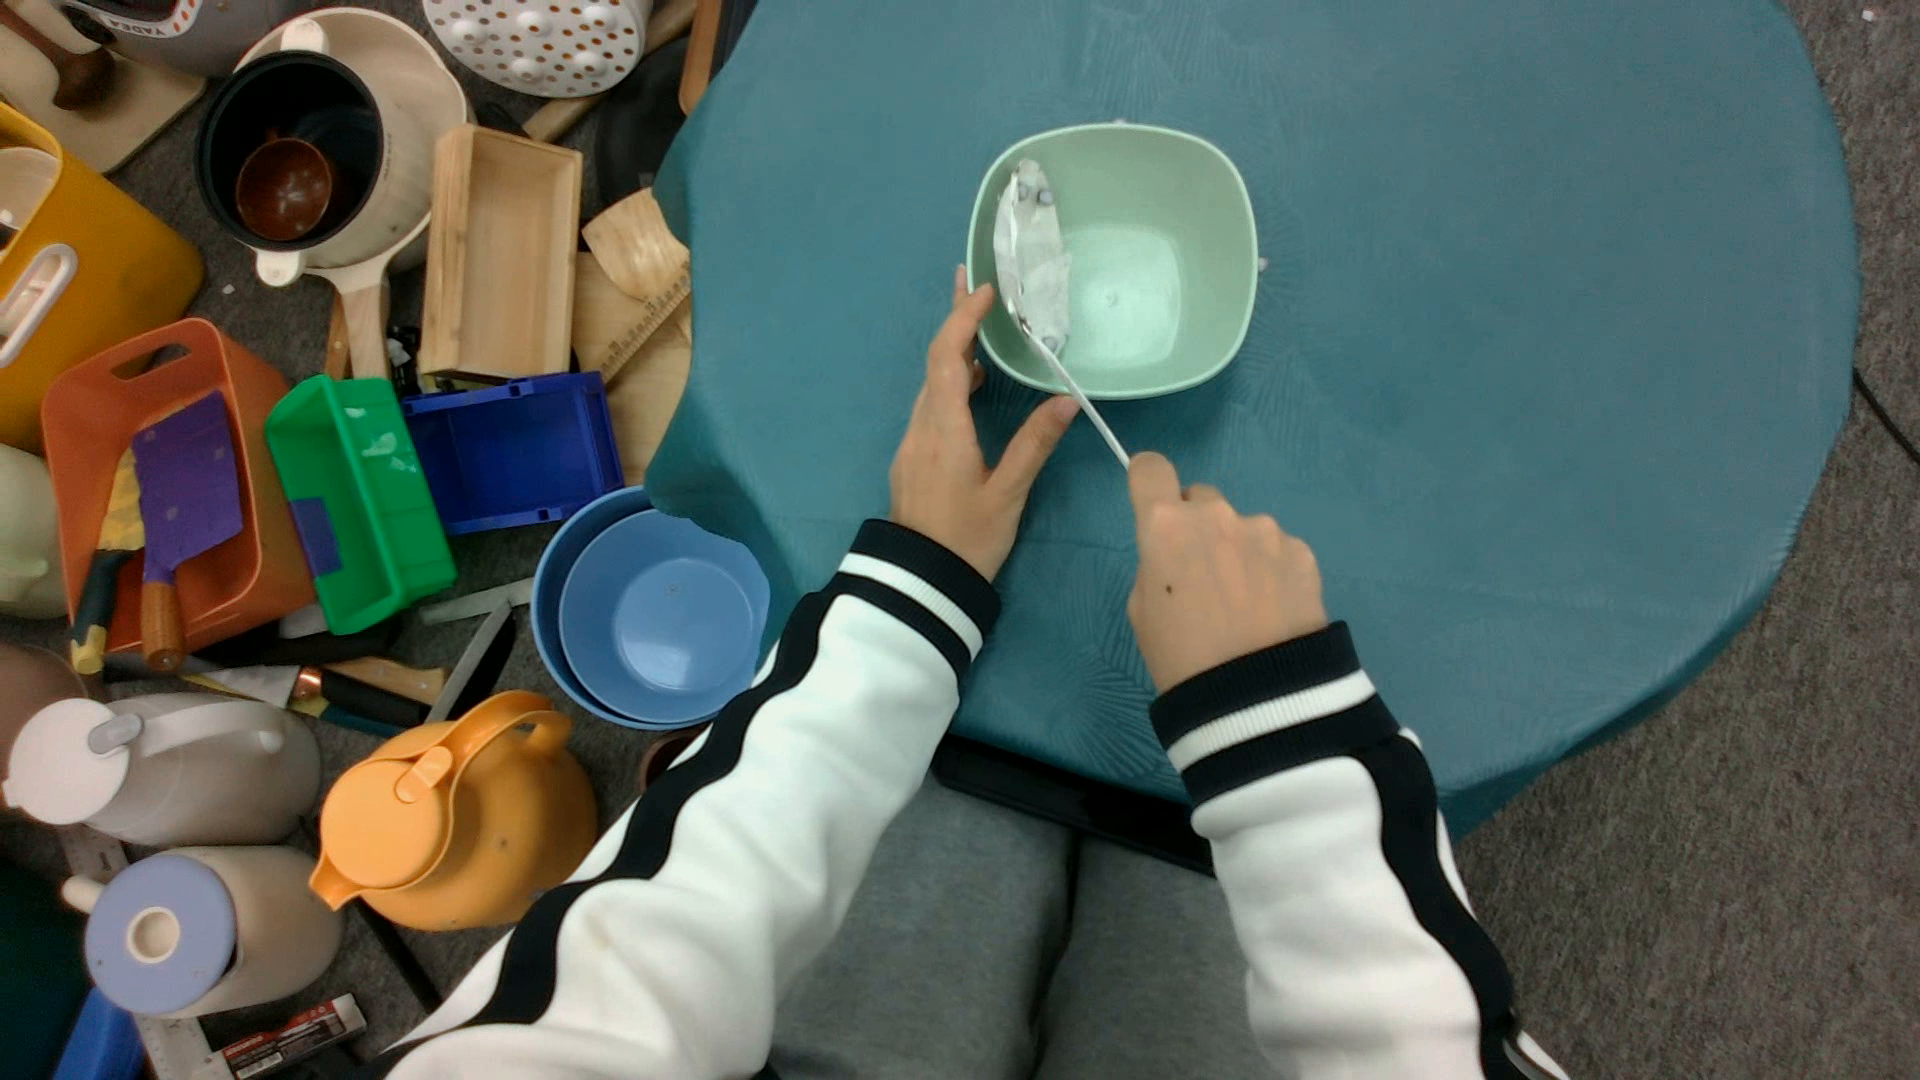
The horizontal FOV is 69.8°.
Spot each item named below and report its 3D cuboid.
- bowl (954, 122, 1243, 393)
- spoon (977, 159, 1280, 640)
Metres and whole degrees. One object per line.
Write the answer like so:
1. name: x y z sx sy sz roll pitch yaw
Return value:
1. bowl: 0.068 -0.132 0.688 0.151 0.058 0.152 -1 78 3
2. spoon: 0.076 -0.072 0.601 0.059 0.100 0.278 -38 52 5
